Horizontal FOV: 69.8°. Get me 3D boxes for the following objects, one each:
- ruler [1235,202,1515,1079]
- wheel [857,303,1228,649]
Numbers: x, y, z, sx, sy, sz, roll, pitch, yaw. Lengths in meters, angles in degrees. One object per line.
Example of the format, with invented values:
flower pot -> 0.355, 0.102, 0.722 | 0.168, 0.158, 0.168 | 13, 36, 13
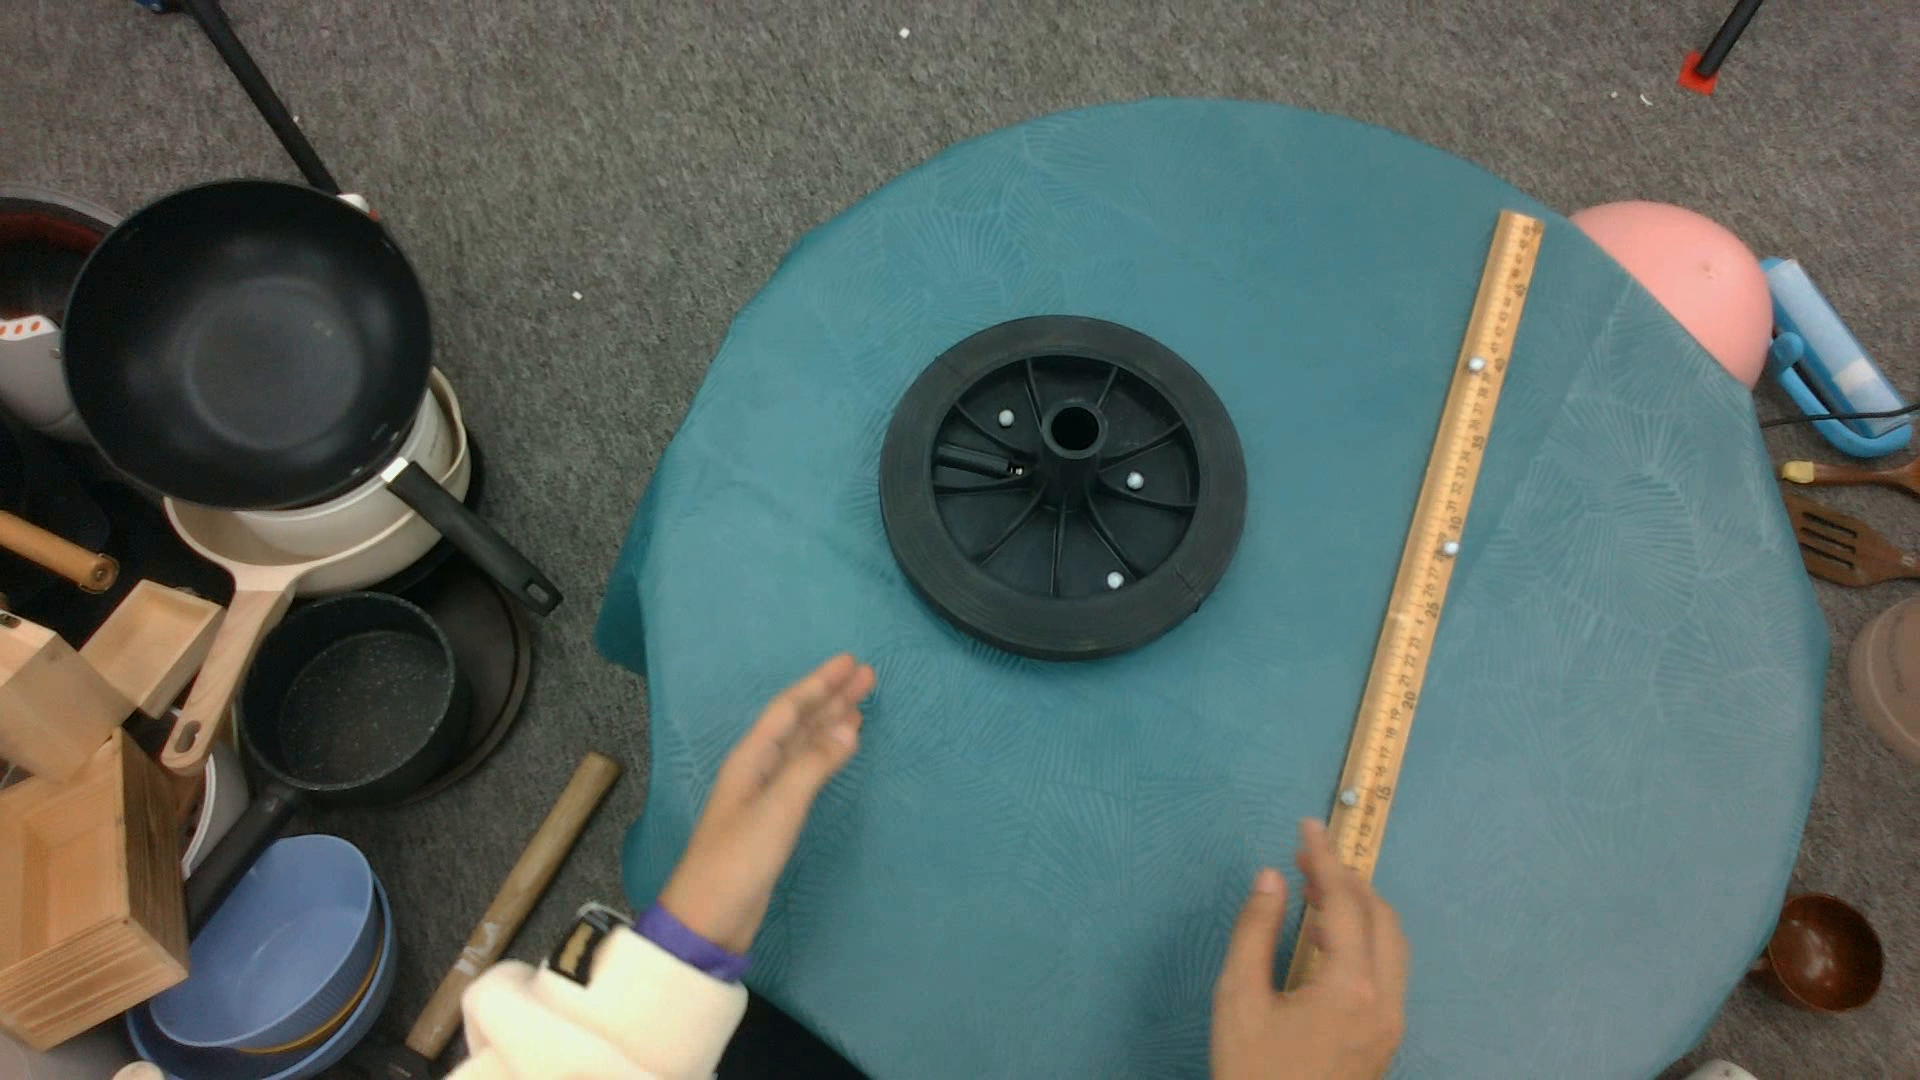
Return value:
ruler -> 0.221, 0.027, 0.702 | 0.027, 0.006, 0.502 | 20, 69, 4
wheel -> 0.043, -0.044, 0.683 | 0.190, 0.079, 0.188 | -7, 69, -5
